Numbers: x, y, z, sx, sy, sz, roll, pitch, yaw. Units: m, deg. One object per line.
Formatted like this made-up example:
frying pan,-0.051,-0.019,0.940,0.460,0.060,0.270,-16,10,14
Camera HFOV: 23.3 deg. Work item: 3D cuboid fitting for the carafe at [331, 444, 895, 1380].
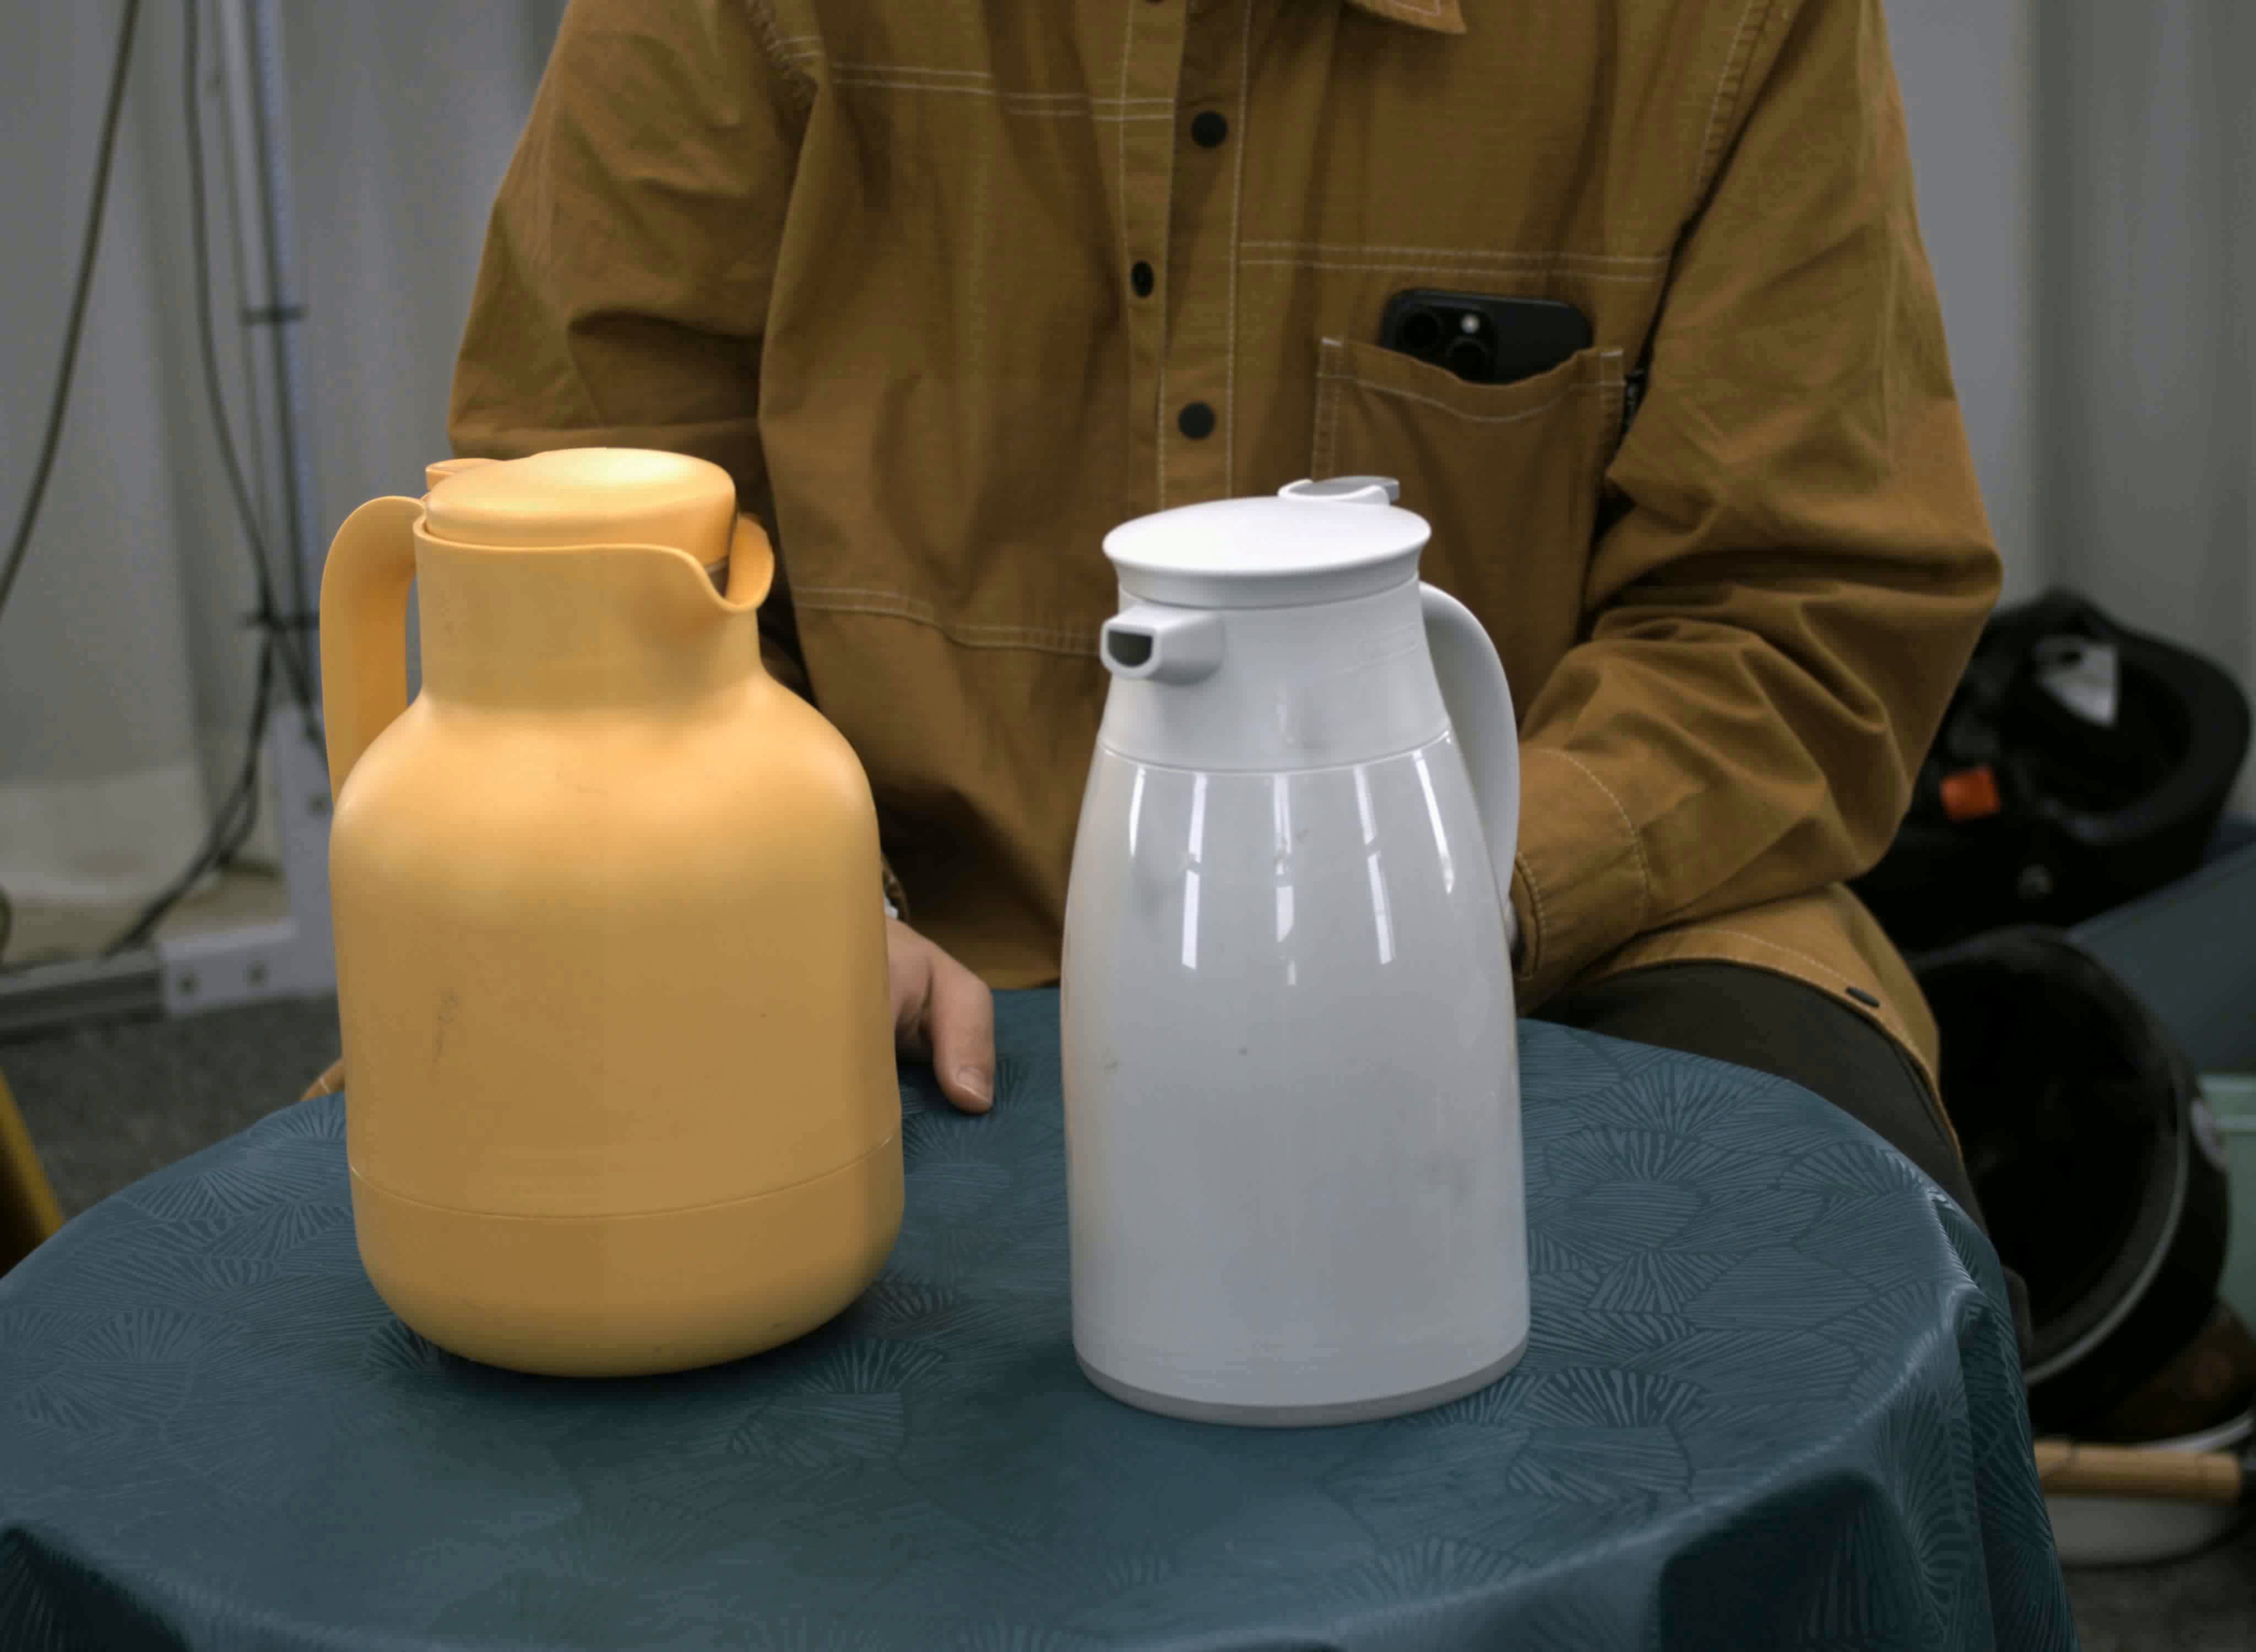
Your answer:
carafe,-0.163,0.017,1.612,0.163,0.259,0.204,-11,17,-39

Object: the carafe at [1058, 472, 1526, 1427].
carafe,0.055,0.026,1.558,0.133,0.248,0.167,8,17,38
